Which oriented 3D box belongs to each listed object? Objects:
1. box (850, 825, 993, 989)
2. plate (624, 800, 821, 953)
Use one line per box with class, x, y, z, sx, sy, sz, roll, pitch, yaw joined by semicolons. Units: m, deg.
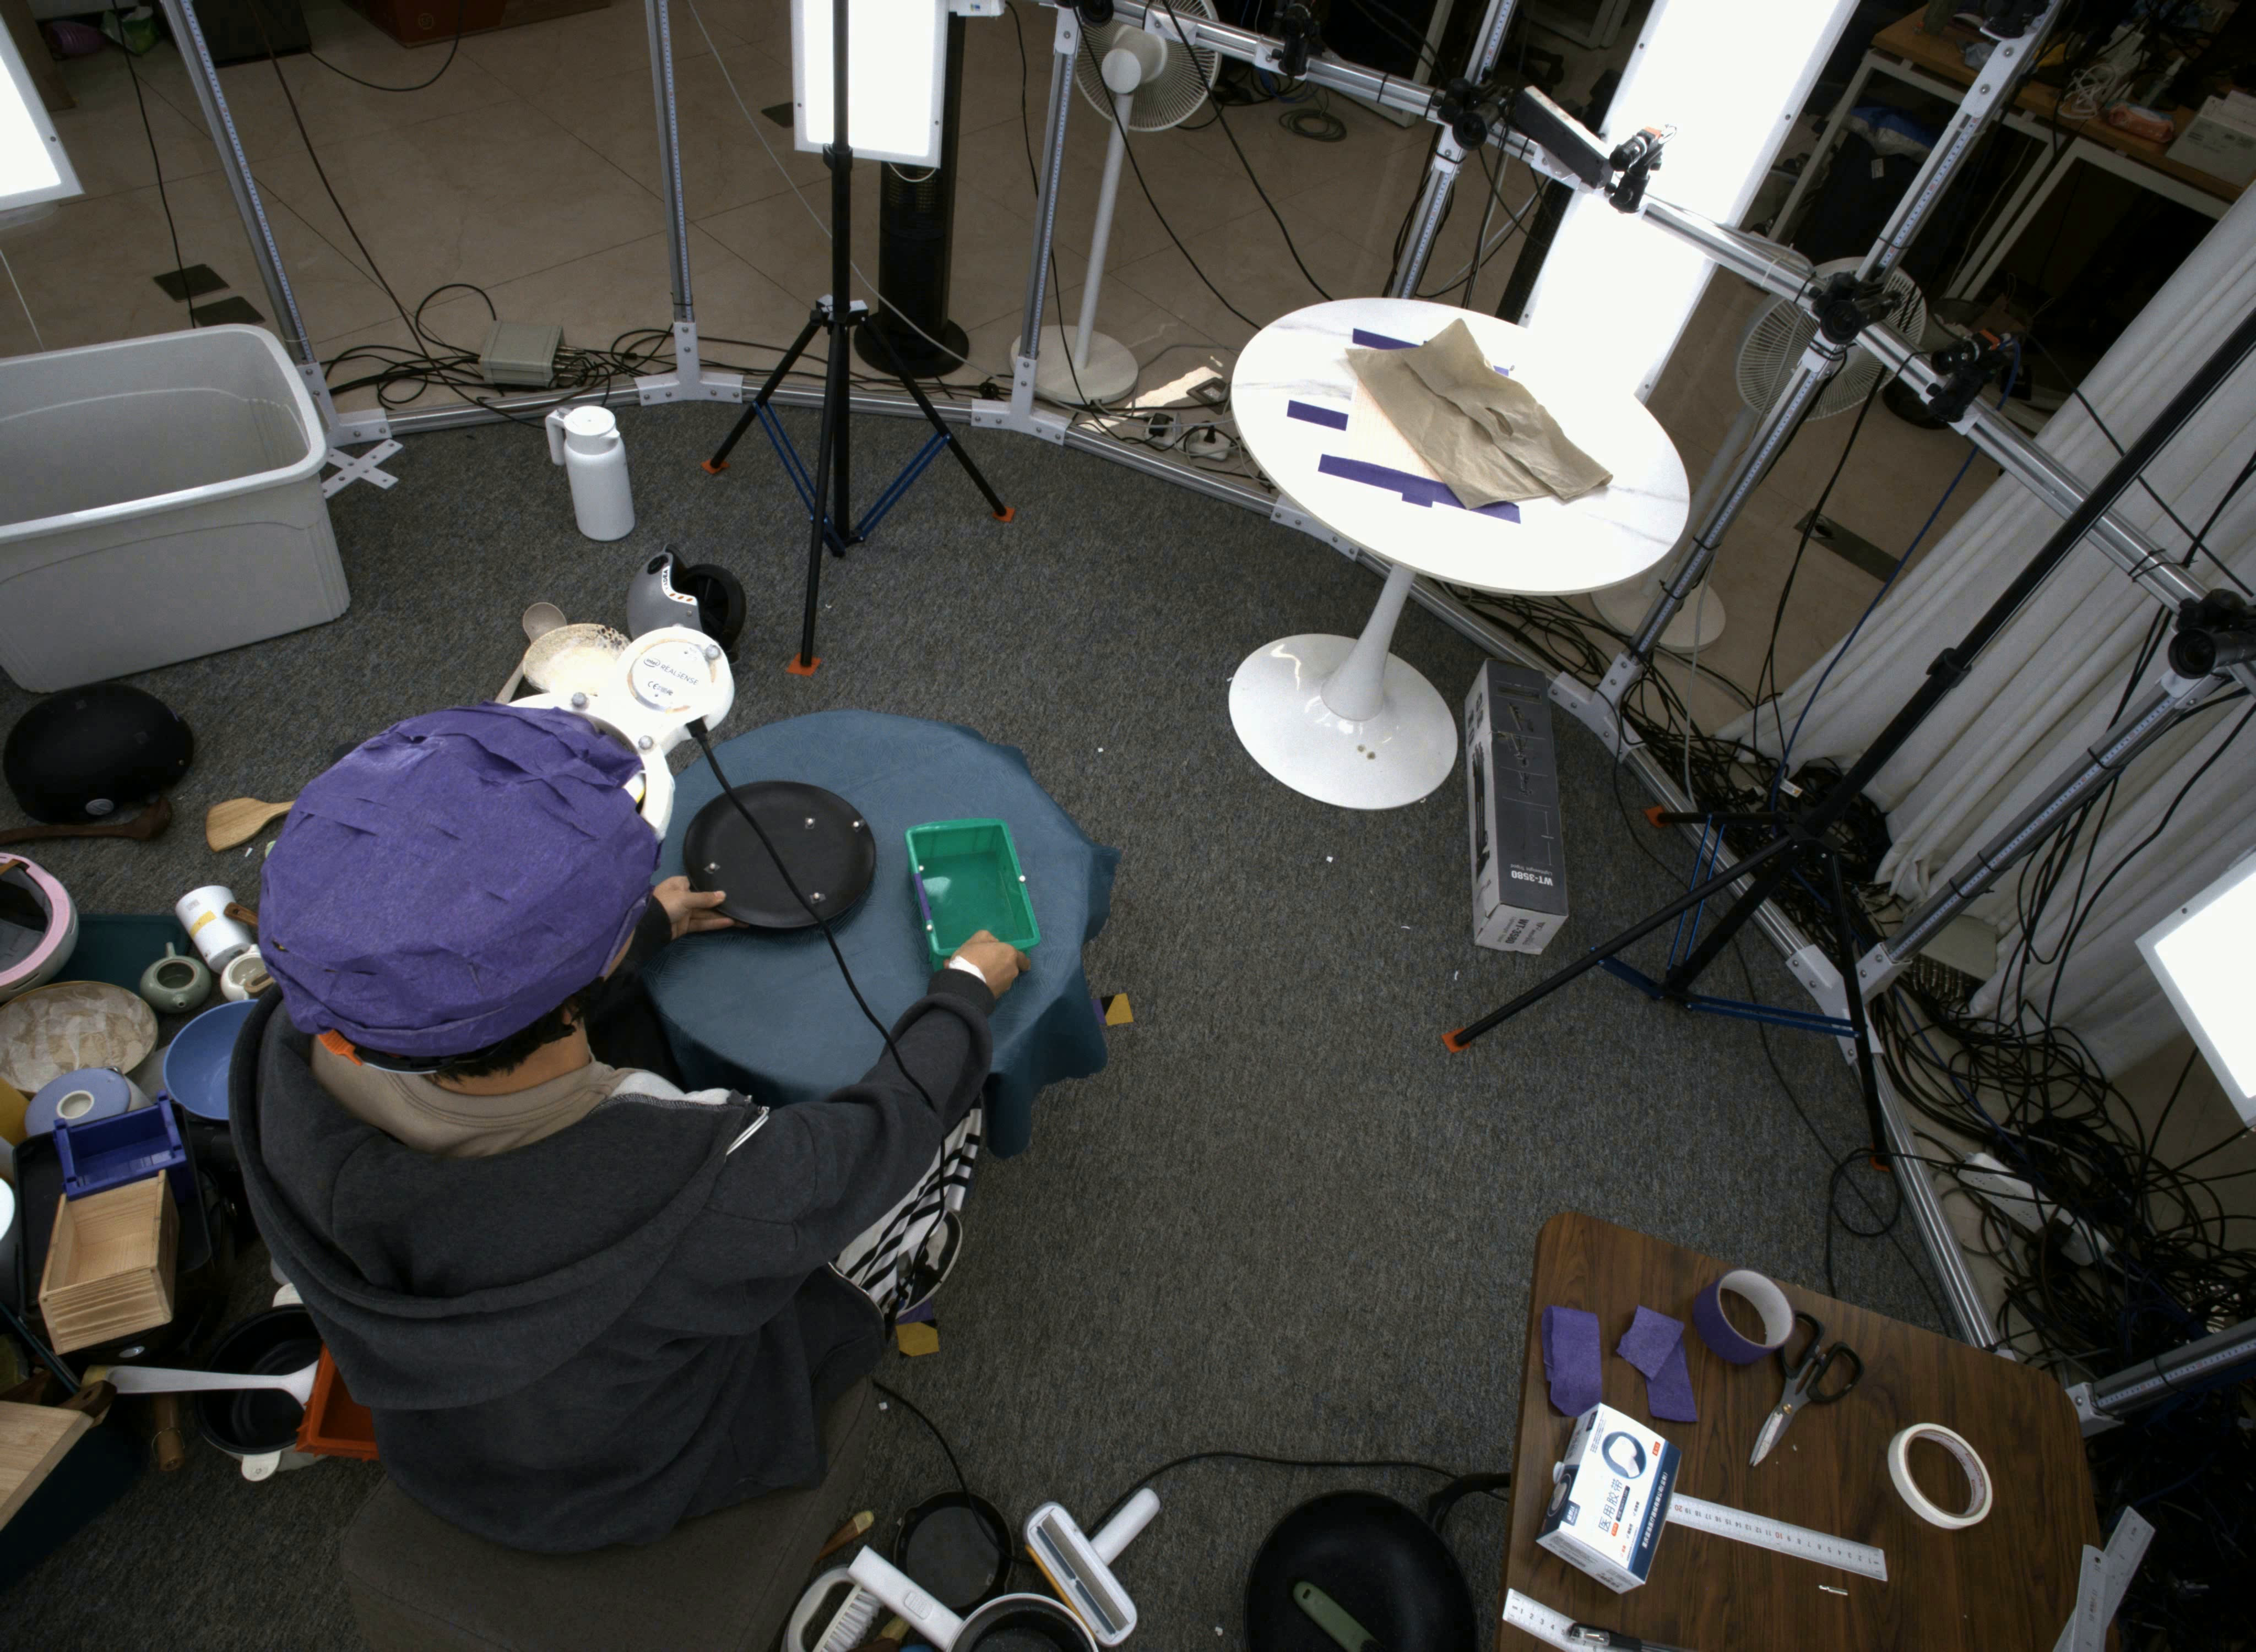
box;-0.265;0.103;1.646;0.139;0.066;0.206;-10;59;-24
plate;-0.512;0.064;1.635;0.244;0.024;0.240;11;49;-11
